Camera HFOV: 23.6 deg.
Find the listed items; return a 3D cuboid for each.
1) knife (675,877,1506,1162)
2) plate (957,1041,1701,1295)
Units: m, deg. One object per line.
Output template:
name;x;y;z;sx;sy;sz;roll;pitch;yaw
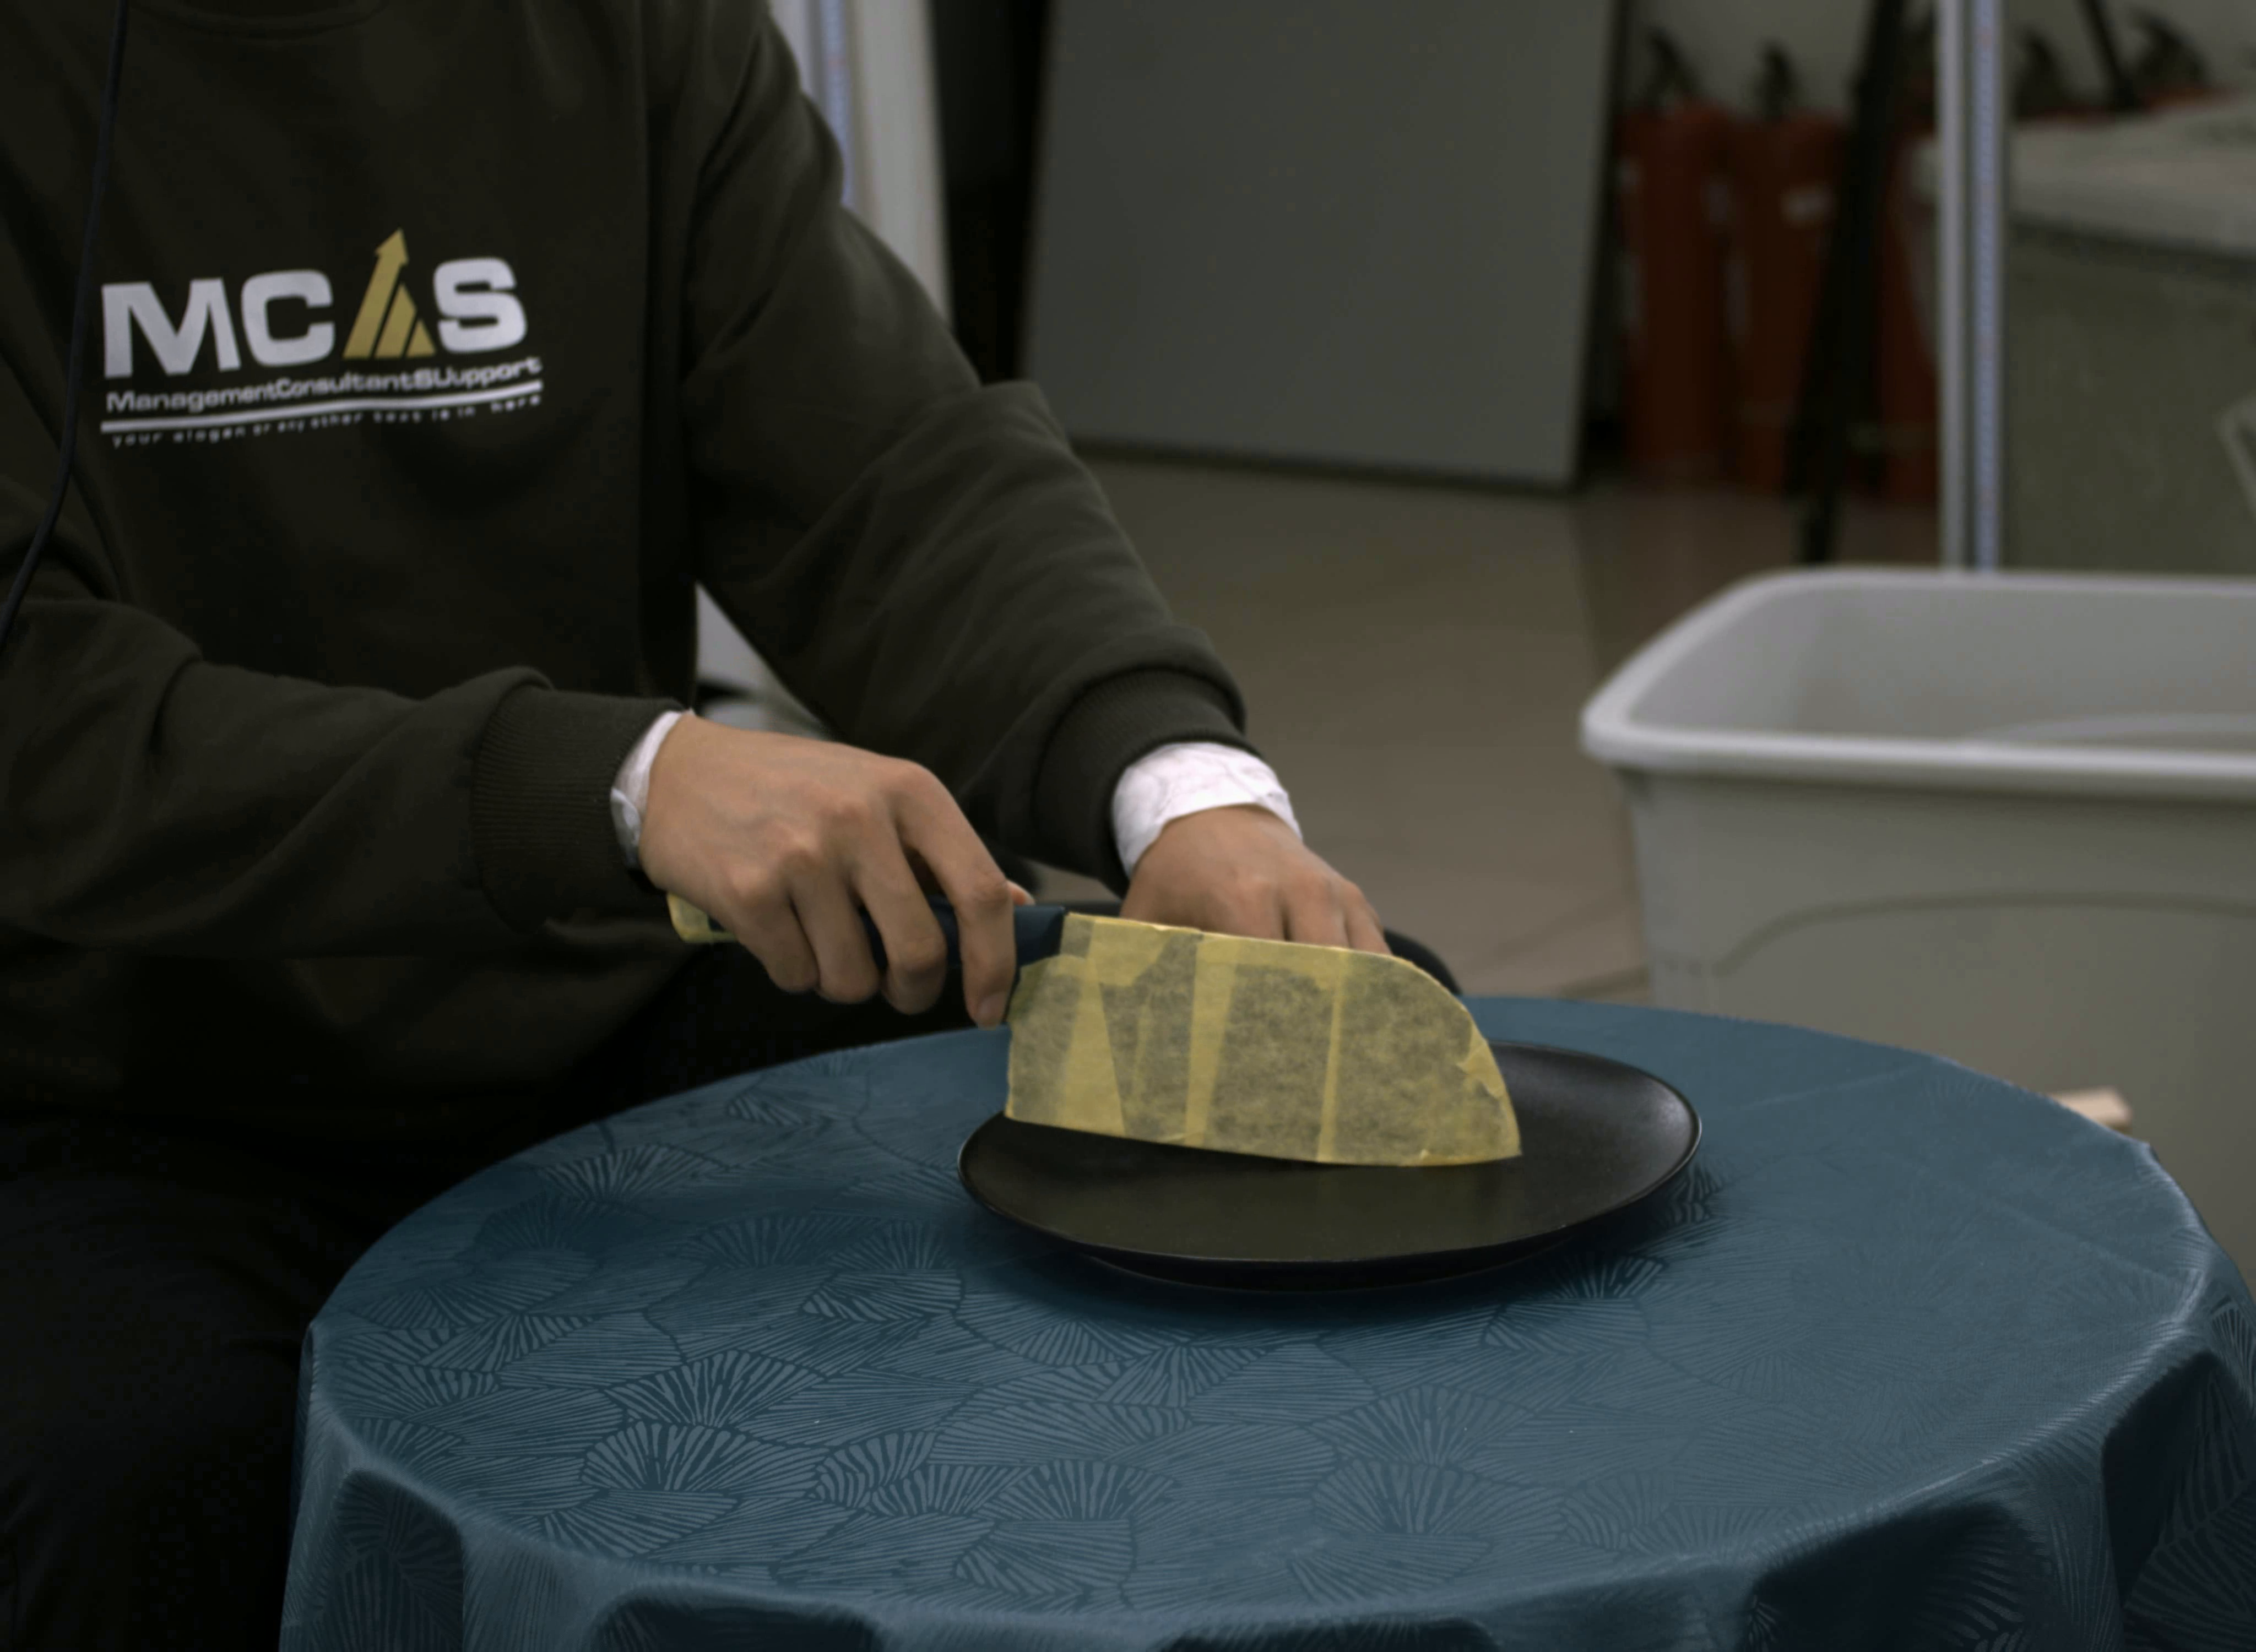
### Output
knife;-0.014;0.063;1.772;0.288;0.082;0.027;10;7;14
plate;0.065;0.112;1.743;0.241;0.024;0.245;-4;13;0
